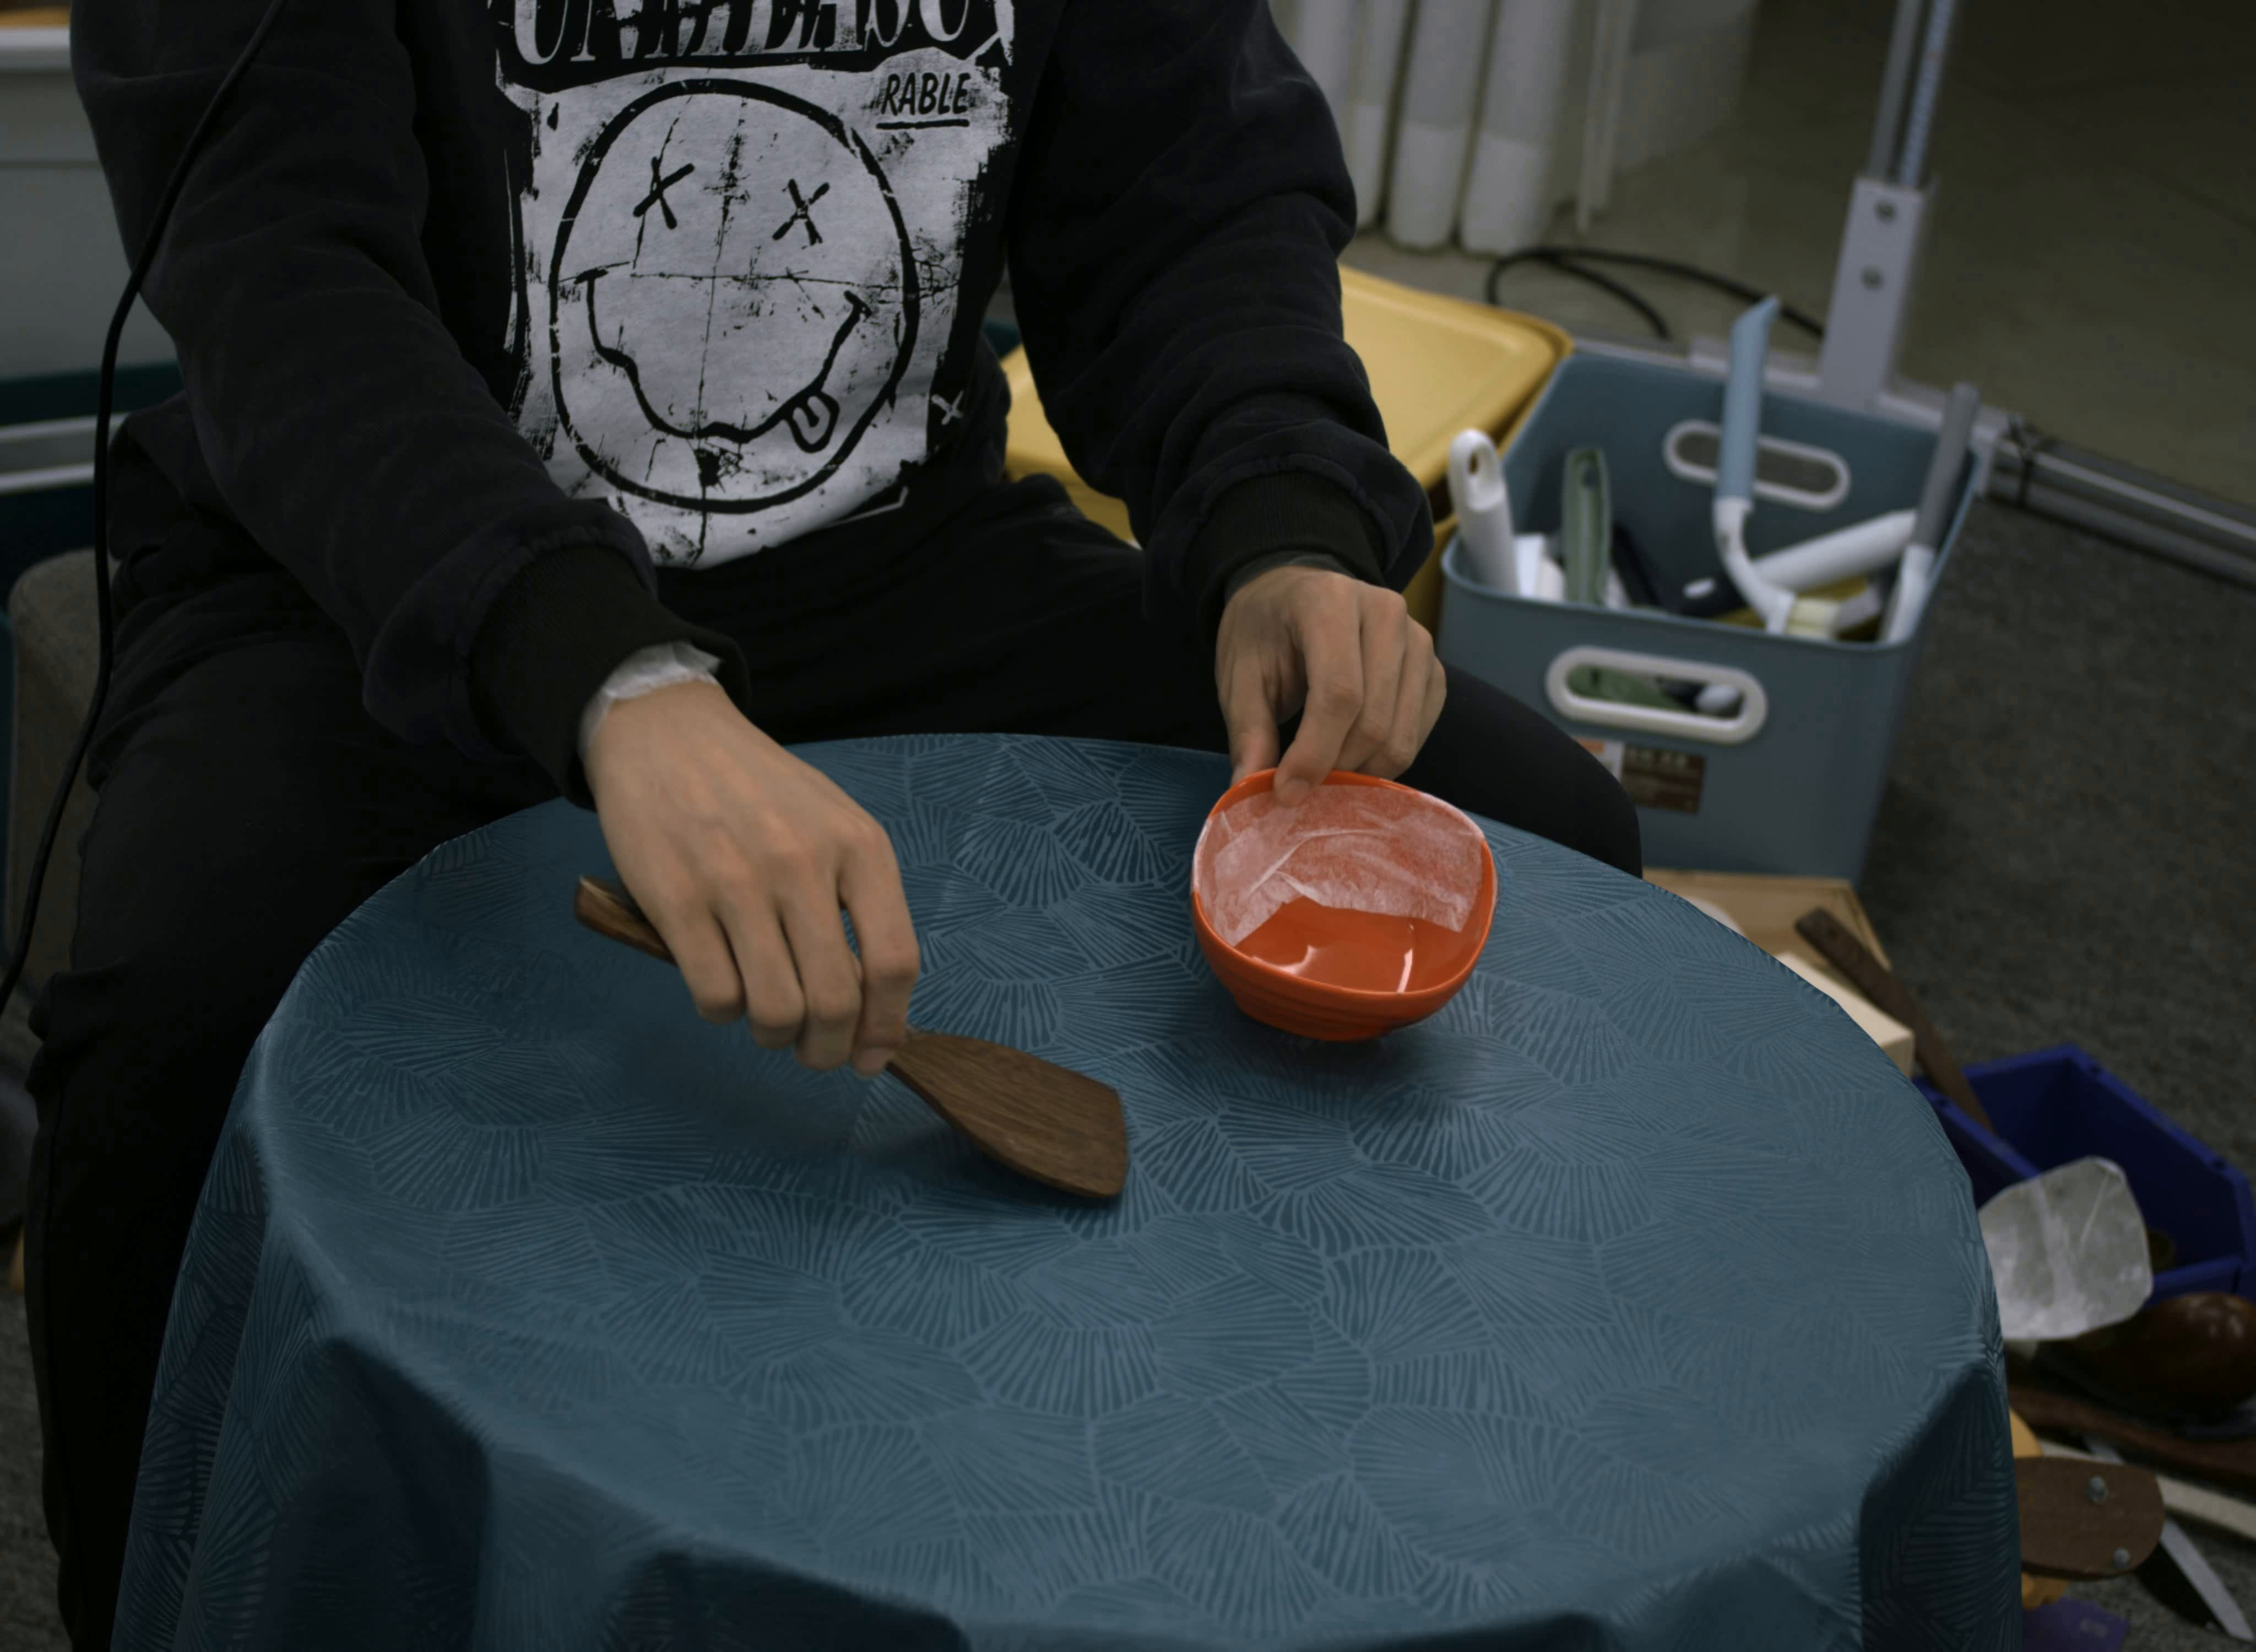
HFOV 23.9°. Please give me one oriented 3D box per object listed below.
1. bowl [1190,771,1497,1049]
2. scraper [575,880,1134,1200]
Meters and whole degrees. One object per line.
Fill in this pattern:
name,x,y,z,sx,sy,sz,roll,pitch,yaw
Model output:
bowl,0.074,0.037,1.914,0.118,0.051,0.120,5,46,-5
scraper,-0.092,0.069,1.795,0.210,0.011,0.076,26,25,-13
